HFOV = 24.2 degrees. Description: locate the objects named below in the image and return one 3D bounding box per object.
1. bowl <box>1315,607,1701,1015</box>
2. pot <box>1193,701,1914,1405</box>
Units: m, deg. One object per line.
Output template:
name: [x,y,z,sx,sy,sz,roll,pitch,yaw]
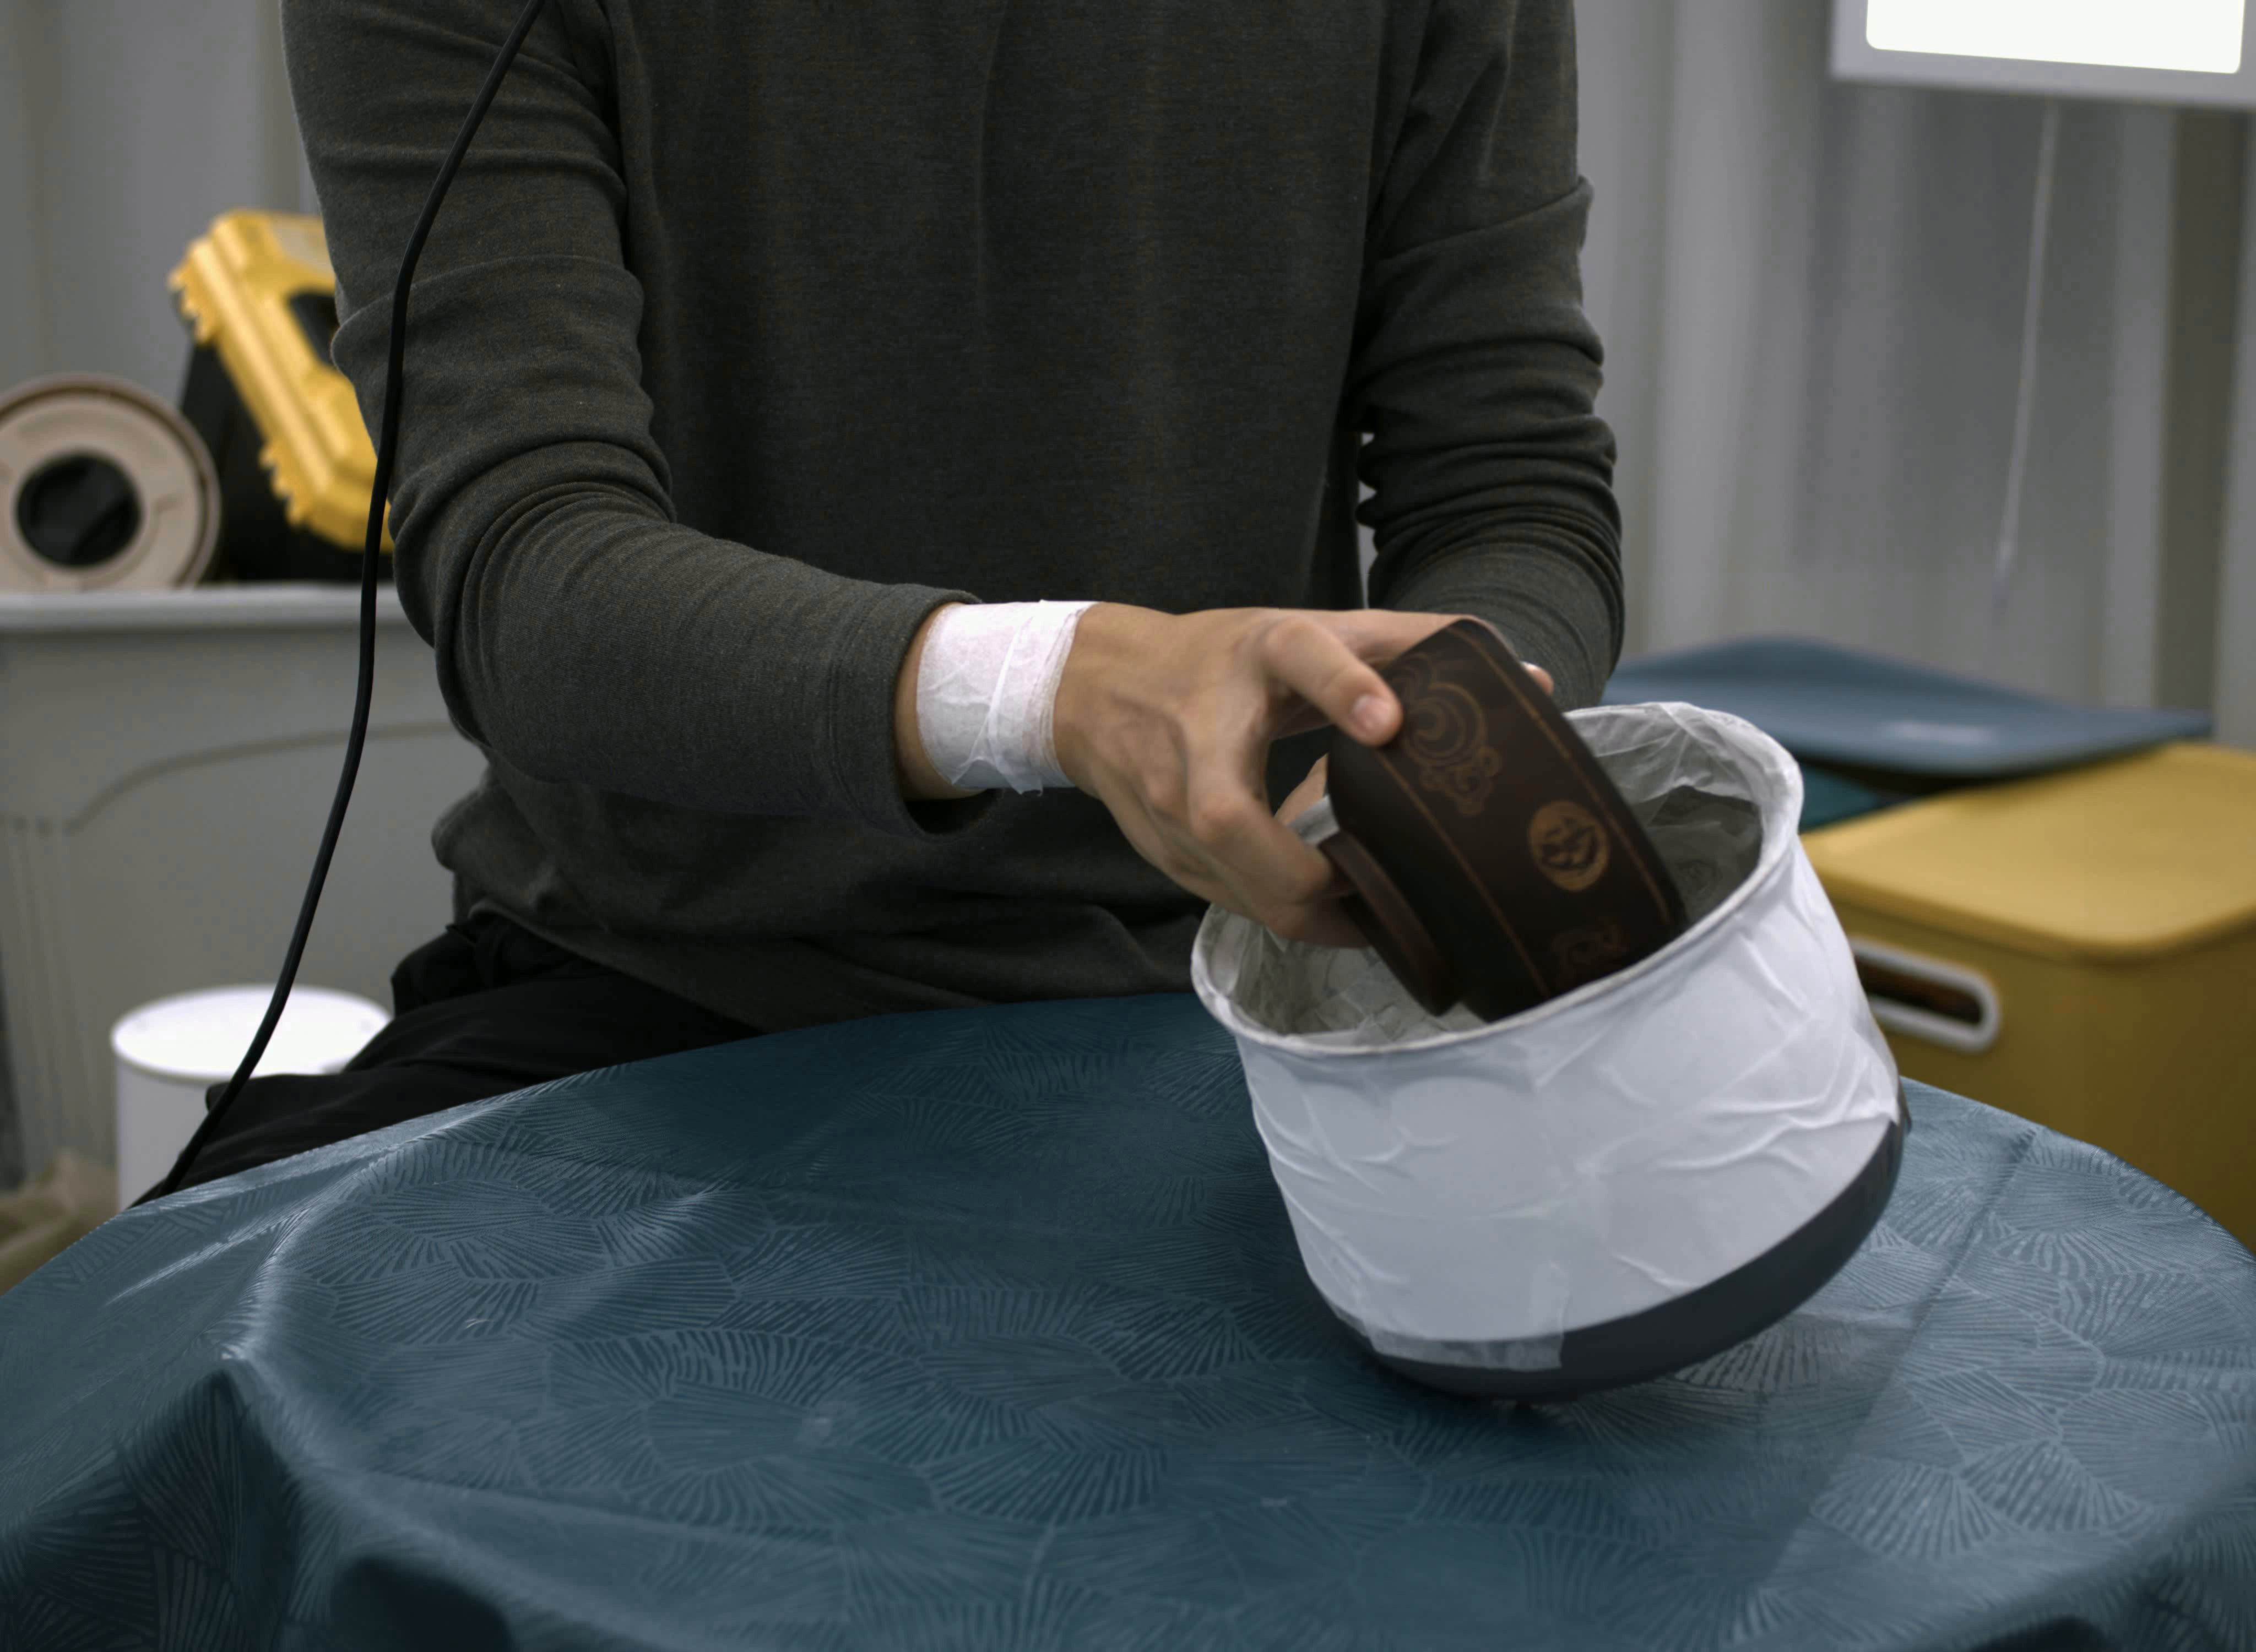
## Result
bowl: [0.094,0.007,1.414,0.070,0.119,0.117,-35,23,-5]
pot: [0.112,0.057,1.497,0.178,0.138,0.231,-27,25,-12]
